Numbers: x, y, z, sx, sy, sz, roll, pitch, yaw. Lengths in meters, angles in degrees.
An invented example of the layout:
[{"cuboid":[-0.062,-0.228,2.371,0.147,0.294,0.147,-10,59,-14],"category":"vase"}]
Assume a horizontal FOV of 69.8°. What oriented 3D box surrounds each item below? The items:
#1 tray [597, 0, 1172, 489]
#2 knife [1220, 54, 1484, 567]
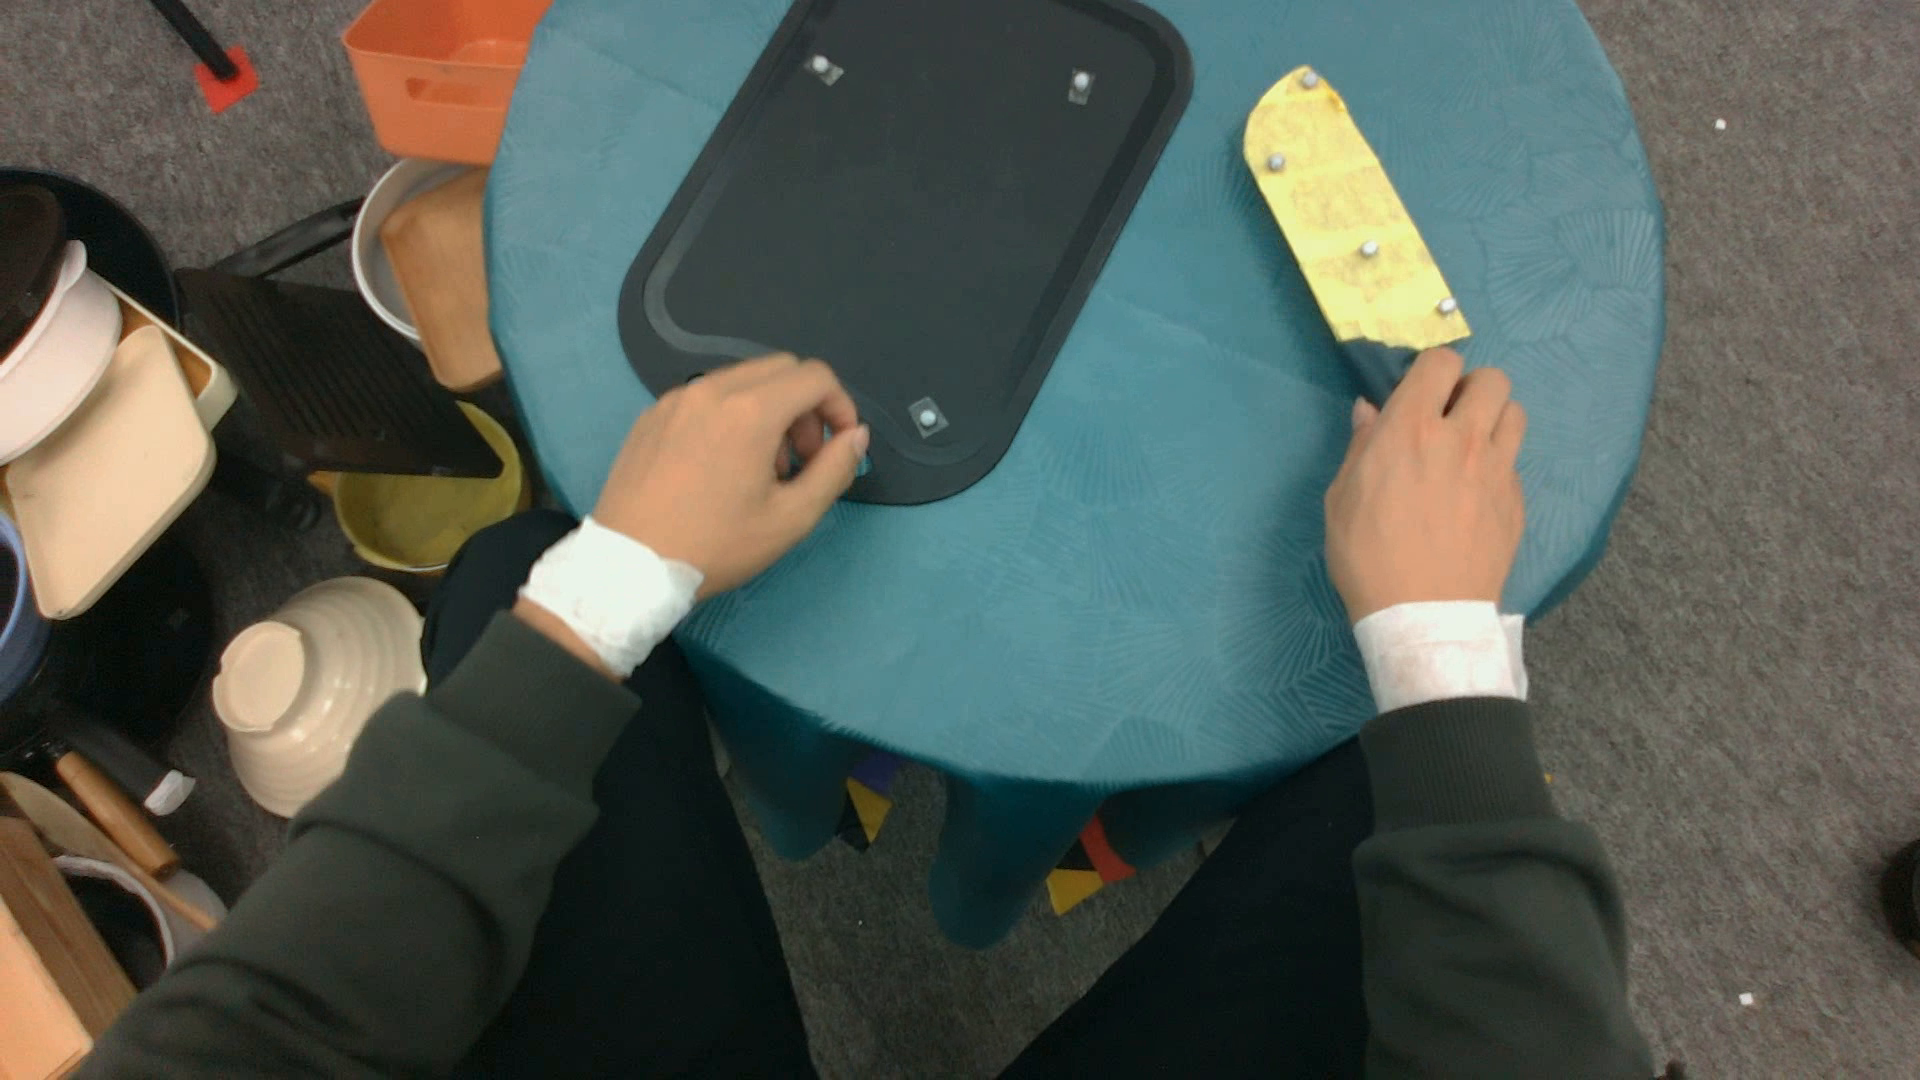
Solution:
[{"cuboid":[-0.037,-0.182,0.698,0.211,0.010,0.326,26,75,4],"category":"tray"},{"cuboid":[0.199,-0.123,0.680,0.081,0.027,0.290,-12,73,-20],"category":"knife"}]
